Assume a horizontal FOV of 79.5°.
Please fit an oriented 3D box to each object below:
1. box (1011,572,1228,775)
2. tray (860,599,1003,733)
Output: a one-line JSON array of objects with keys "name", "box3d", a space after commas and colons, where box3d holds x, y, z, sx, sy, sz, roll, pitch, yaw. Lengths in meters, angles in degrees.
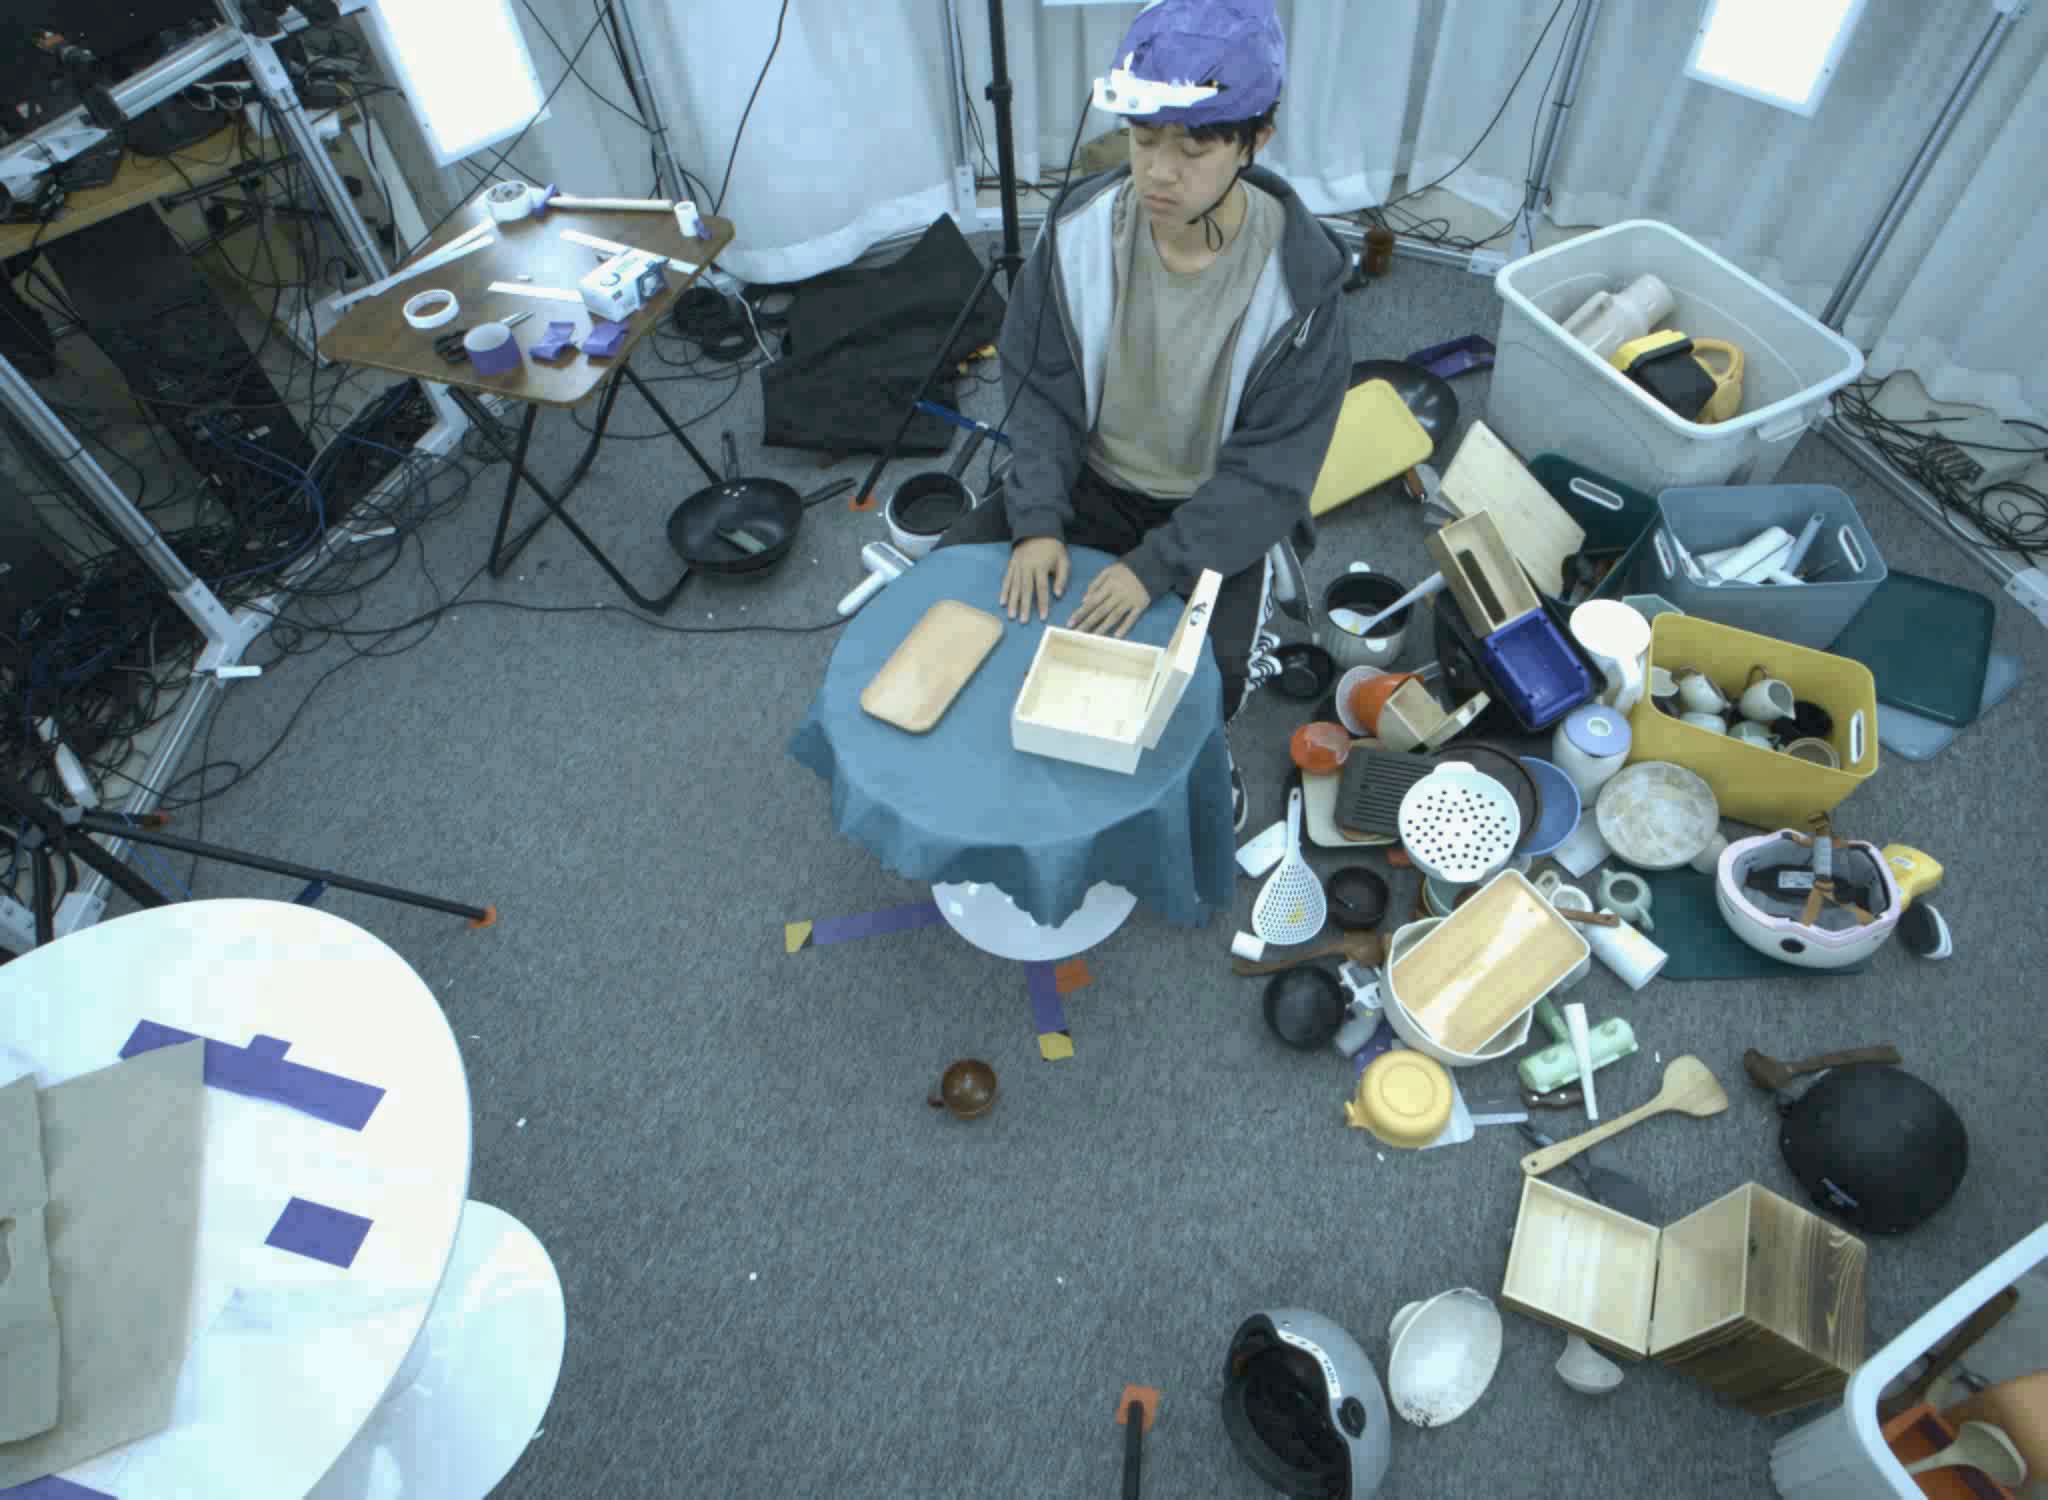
[{"name": "box", "box3d": [0.125, -0.119, 1.720, 0.263, 0.256, 0.181, 12, 53, 10]}, {"name": "tray", "box3d": [-0.140, -0.131, 1.877, 0.129, 0.023, 0.251, 26, 59, 15]}]
